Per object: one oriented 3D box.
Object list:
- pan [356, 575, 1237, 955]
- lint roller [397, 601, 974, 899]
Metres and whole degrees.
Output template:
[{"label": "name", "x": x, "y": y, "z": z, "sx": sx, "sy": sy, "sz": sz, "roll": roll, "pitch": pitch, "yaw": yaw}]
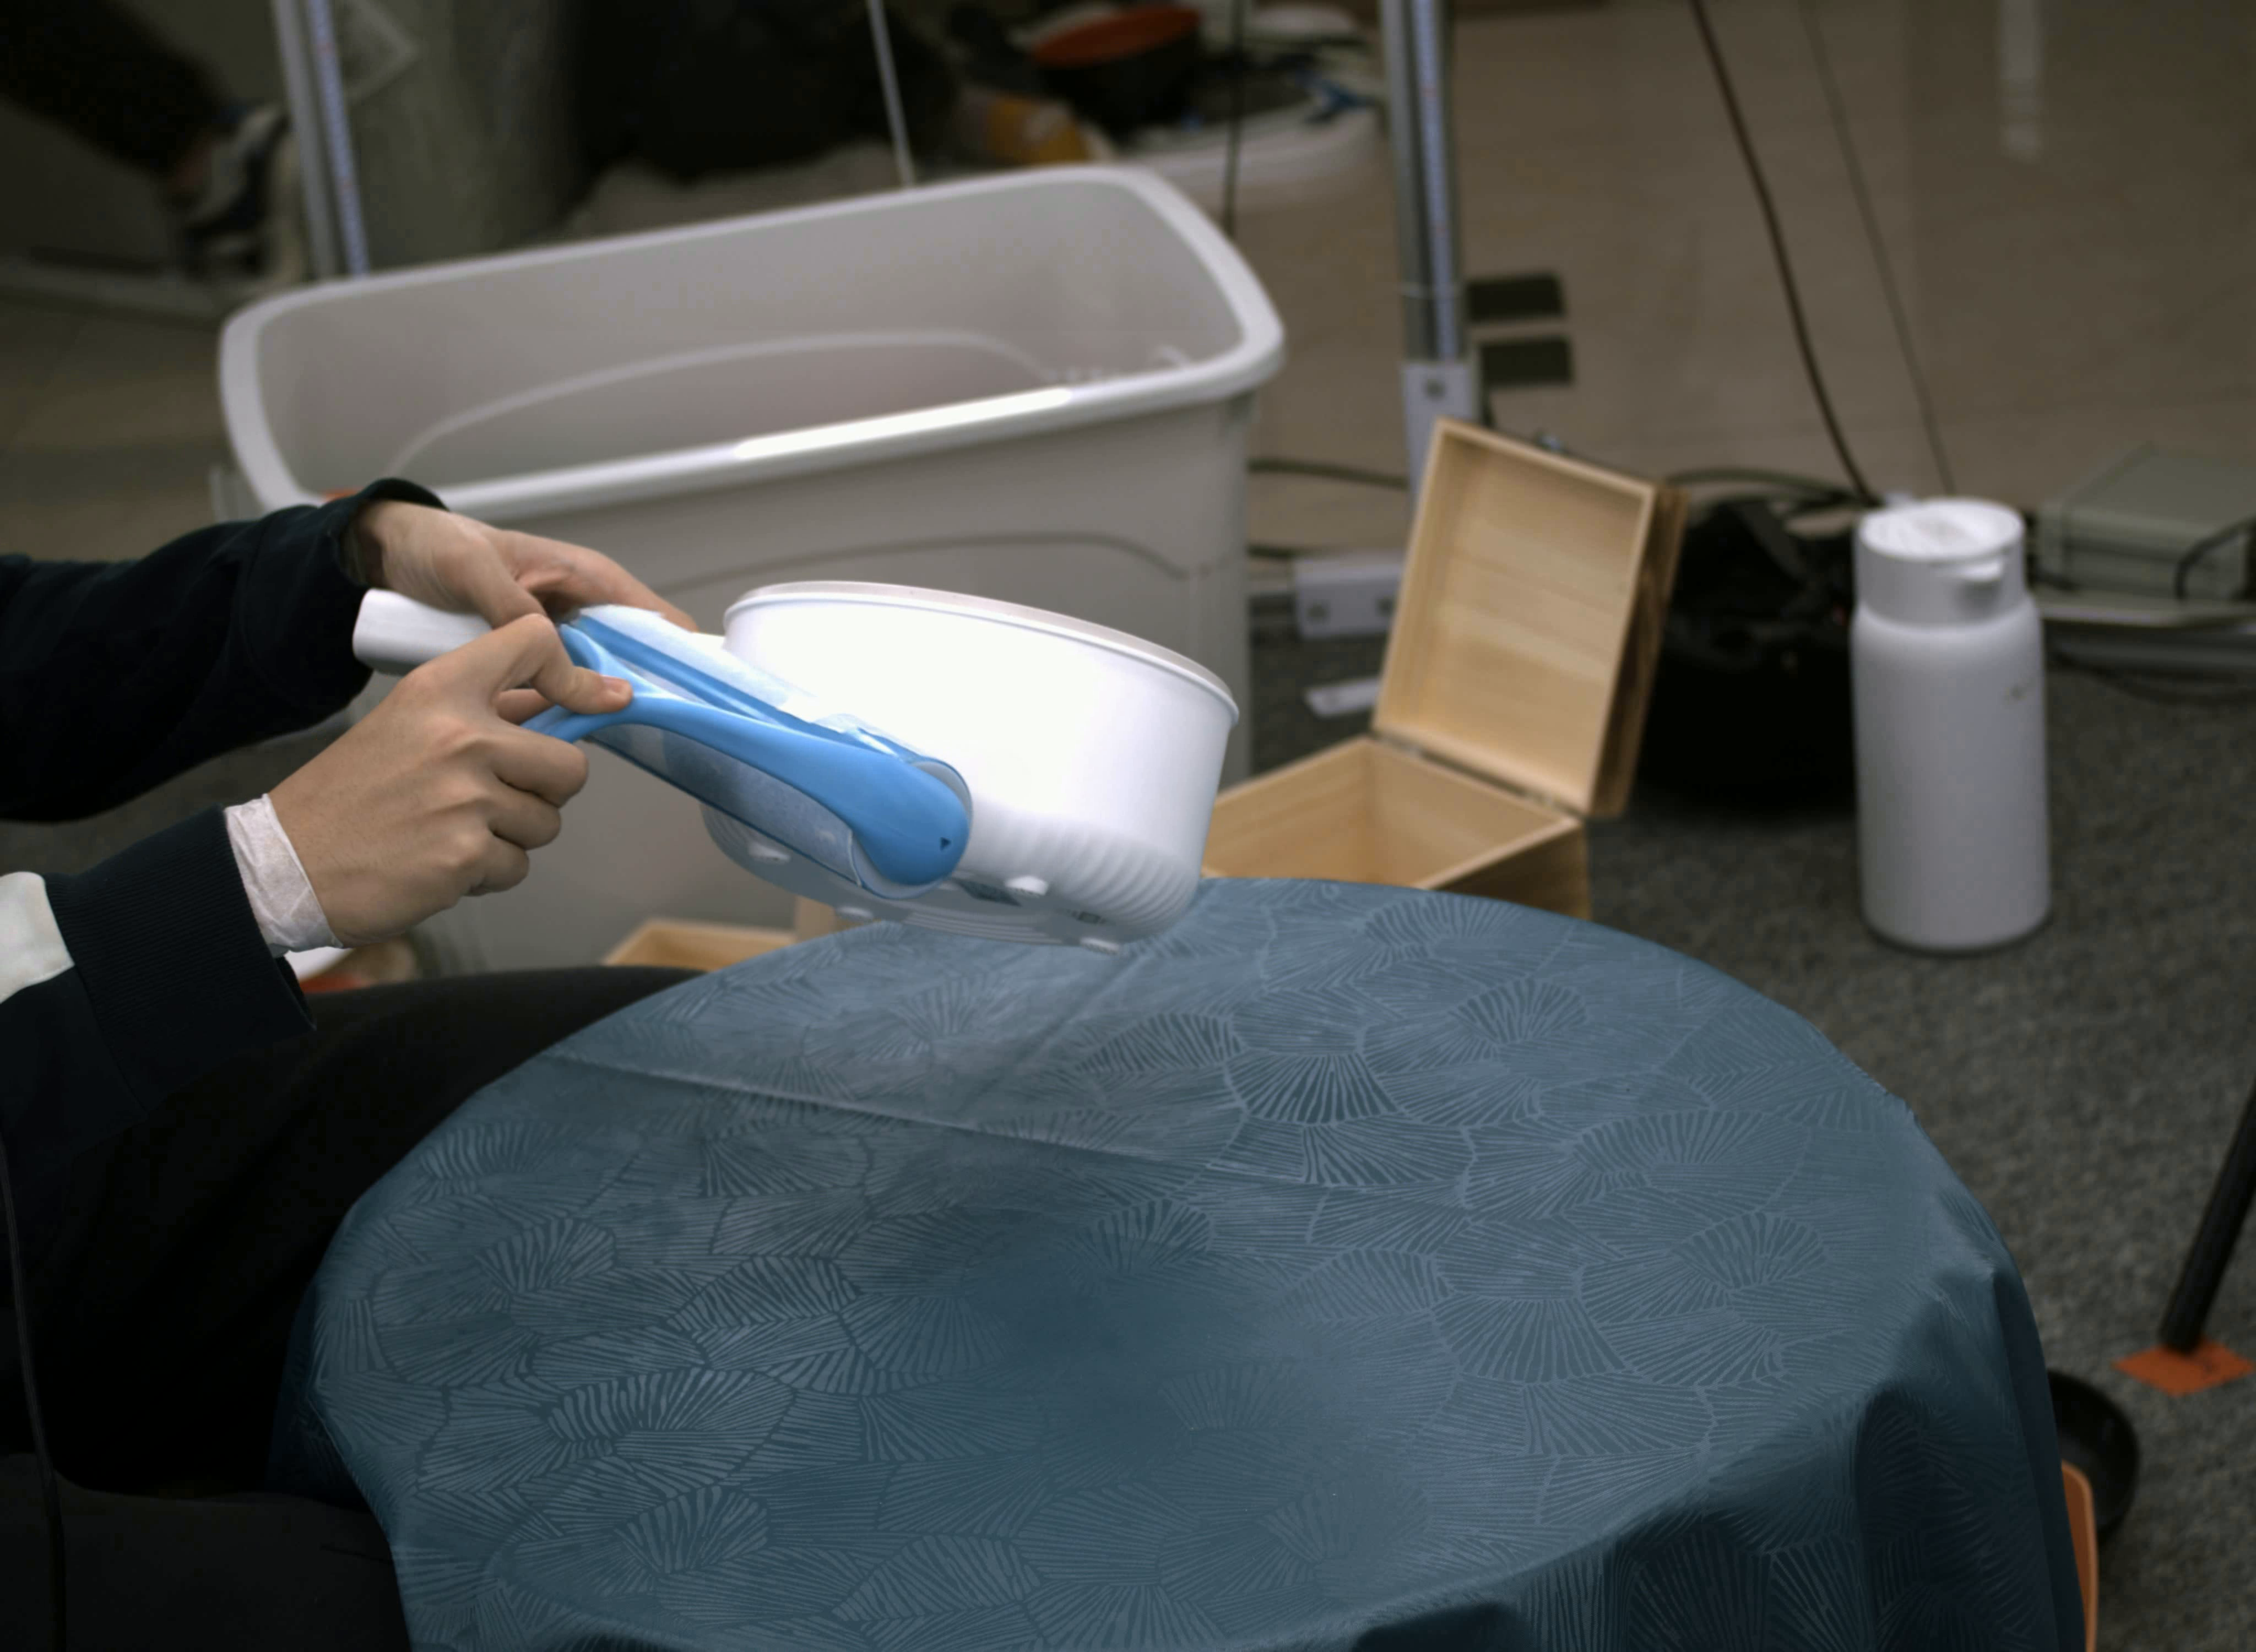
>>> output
[{"label": "pan", "x": -0.137, "y": -0.027, "z": 2.182, "sx": 0.353, "sy": 0.101, "sz": 0.203, "roll": 7, "pitch": -12, "yaw": 18}, {"label": "lint roller", "x": -0.179, "y": -0.020, "z": 2.017, "sx": 0.179, "sy": 0.069, "sz": 0.226, "roll": -13, "pitch": 27, "yaw": -39}]
